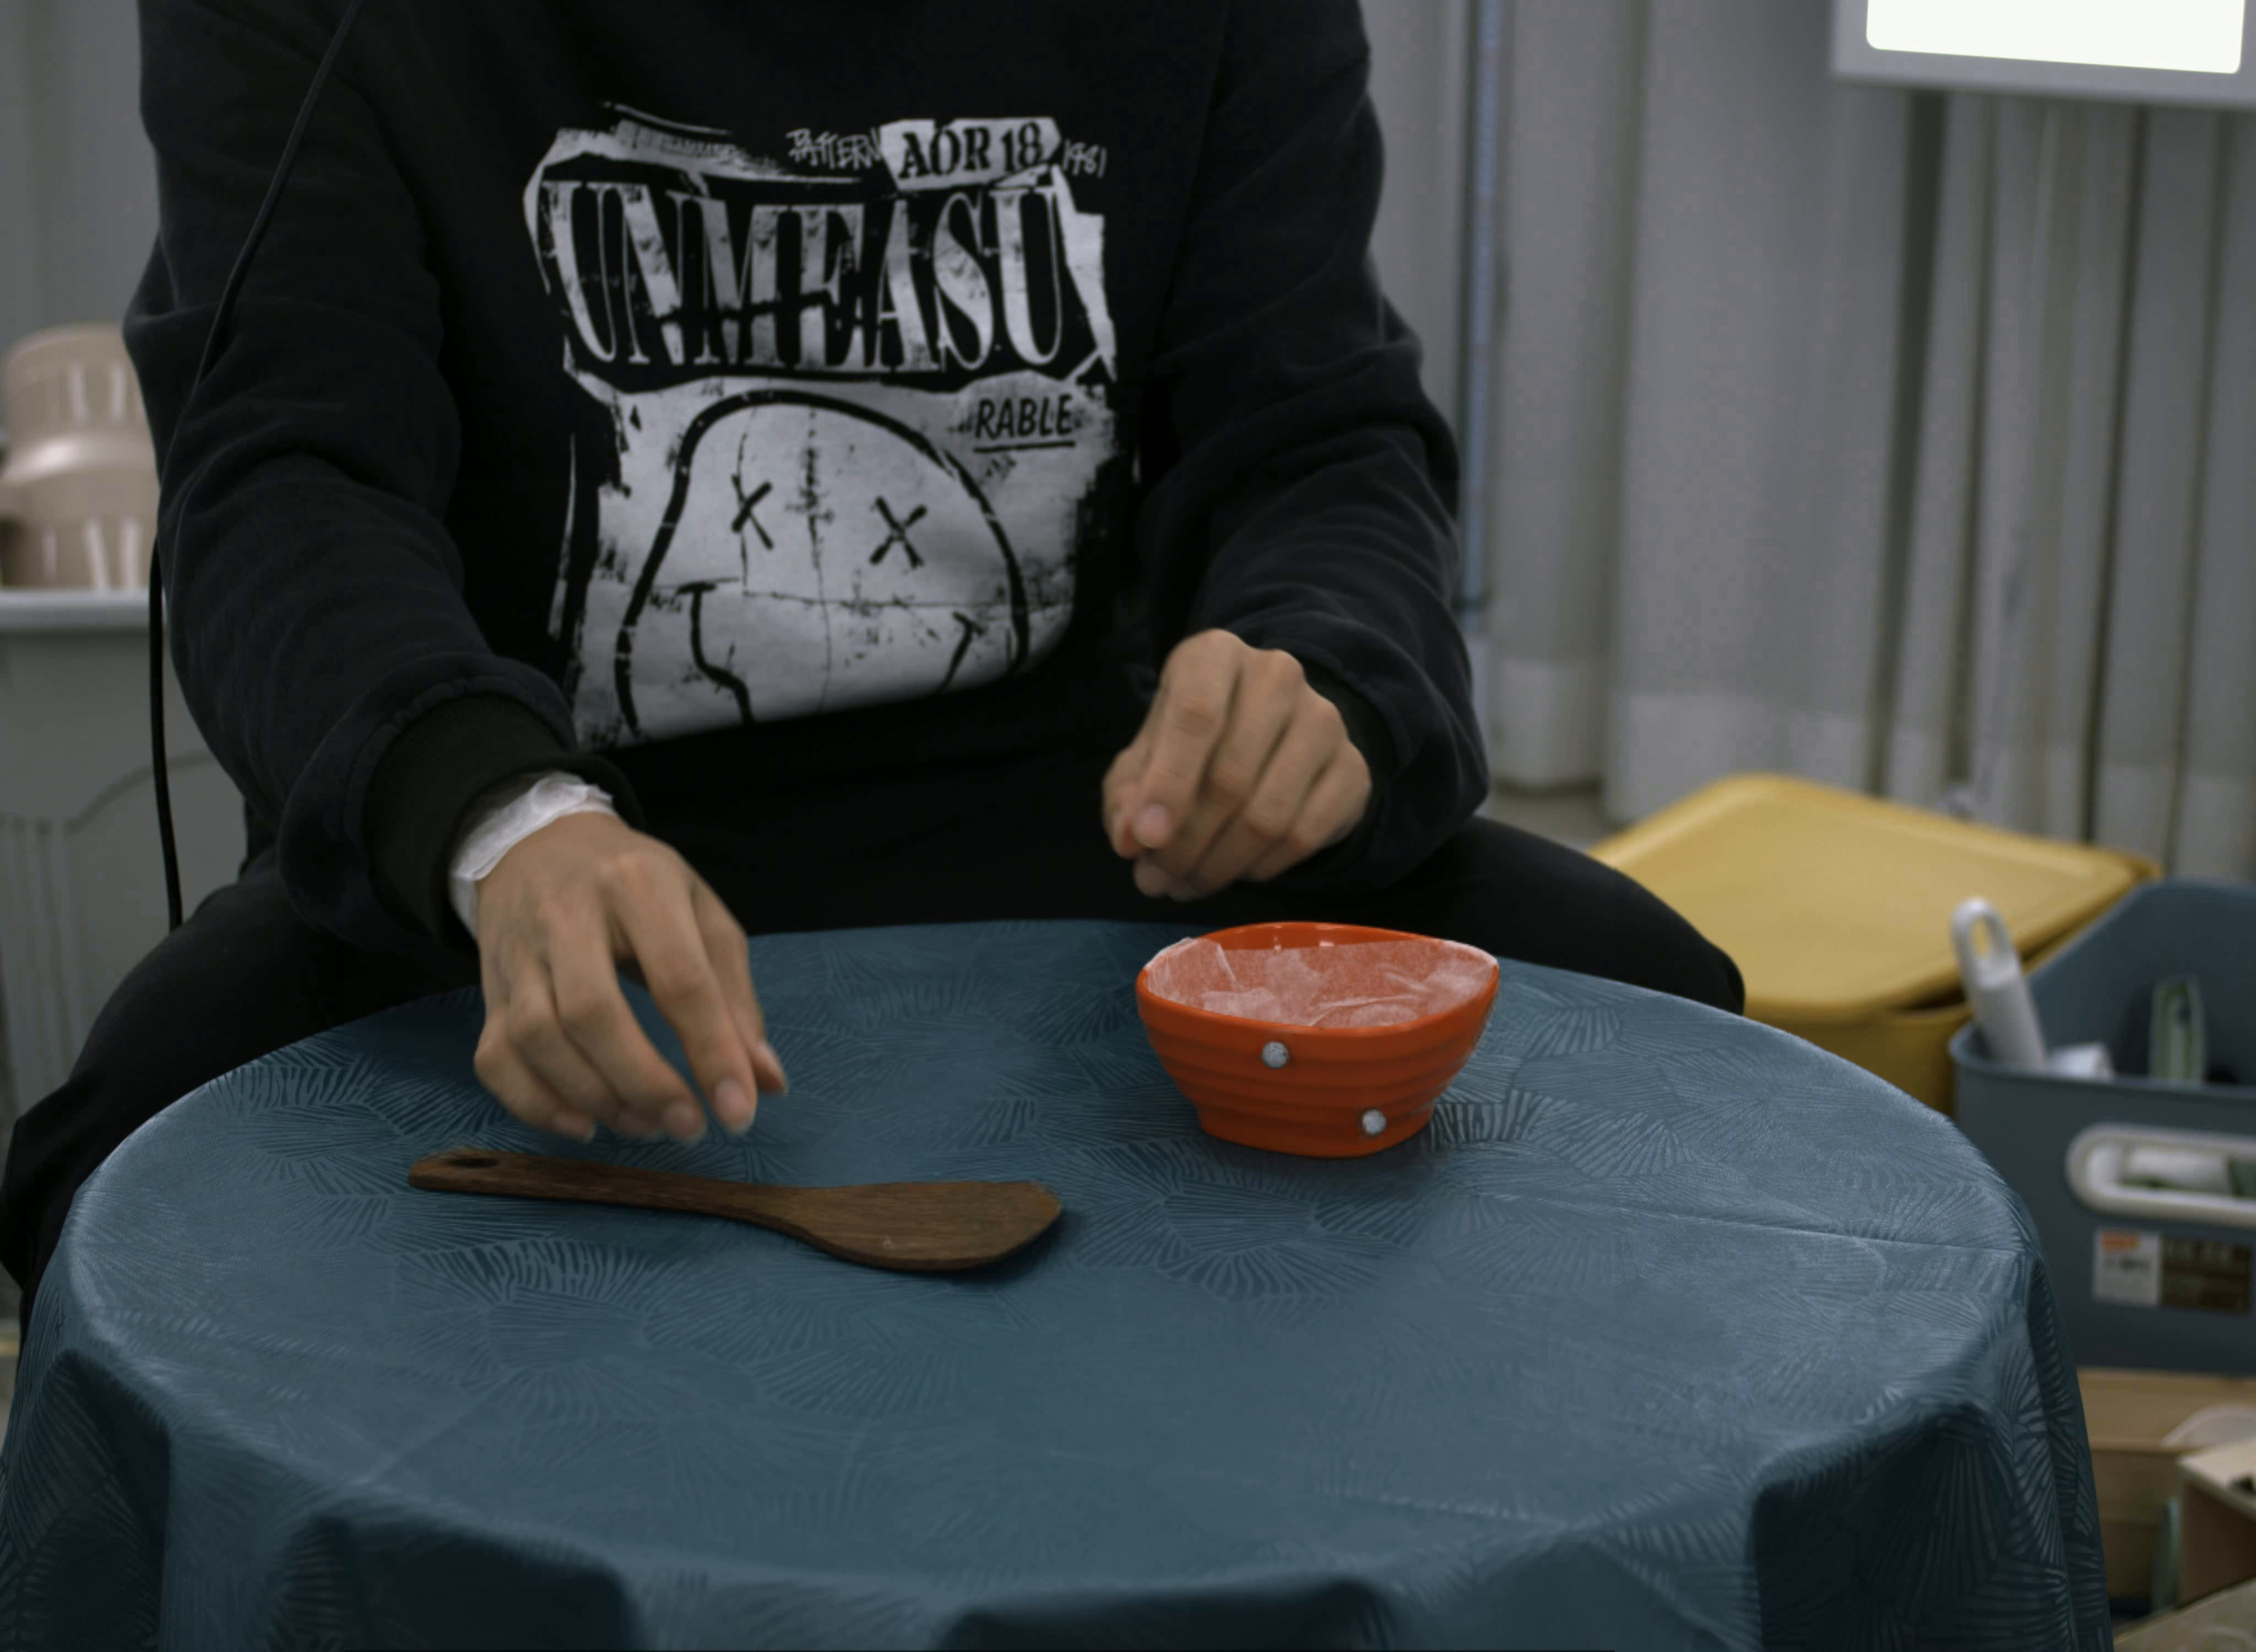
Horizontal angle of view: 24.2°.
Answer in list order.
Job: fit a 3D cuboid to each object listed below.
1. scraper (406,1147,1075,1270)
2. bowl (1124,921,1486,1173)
[{"bbox_3d":[-0.121,0.113,1.604,0.209,0.011,0.076,5,16,17],"label":"scraper"},{"bbox_3d":[0.057,0.073,1.687,0.118,0.052,0.118,0,20,1],"label":"bowl"}]
